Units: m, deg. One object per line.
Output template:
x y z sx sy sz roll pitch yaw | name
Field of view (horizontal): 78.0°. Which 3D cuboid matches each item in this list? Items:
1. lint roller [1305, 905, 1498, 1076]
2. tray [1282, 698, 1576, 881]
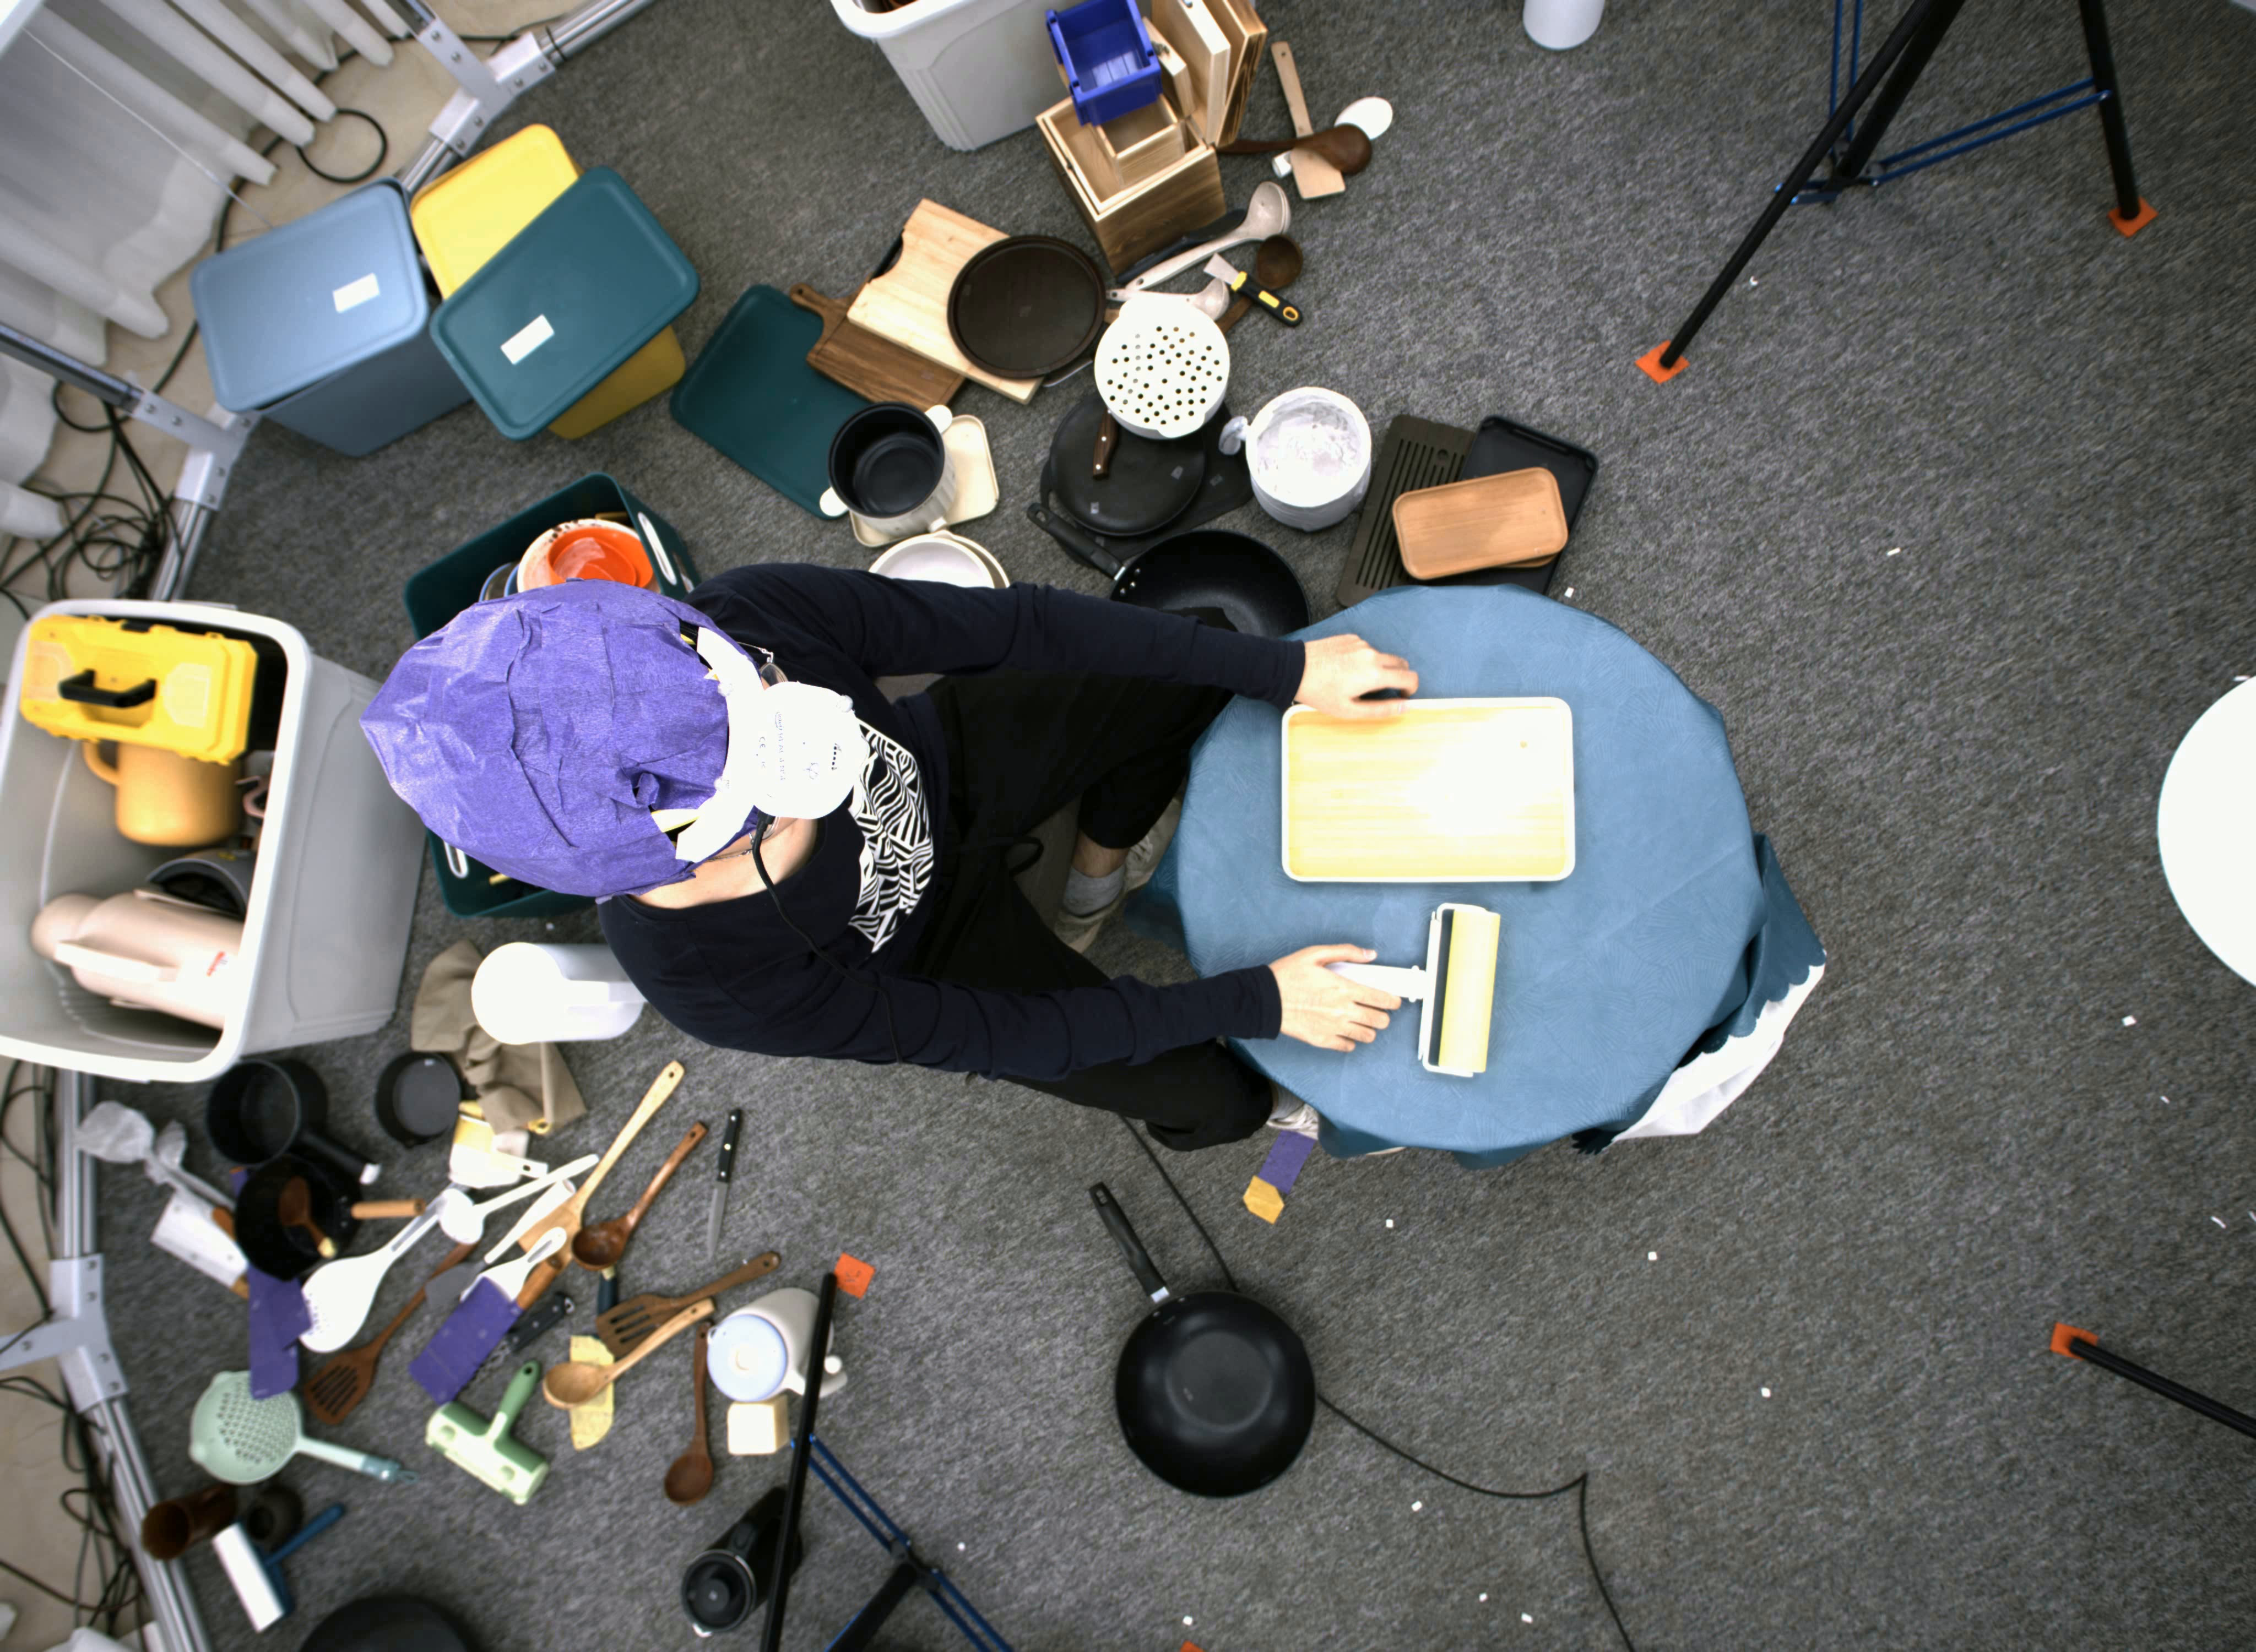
0.280 0.162 1.424 0.192 0.051 0.173 4 87 5 | lint roller
0.312 -0.039 1.445 0.301 0.027 0.190 0 86 11 | tray
